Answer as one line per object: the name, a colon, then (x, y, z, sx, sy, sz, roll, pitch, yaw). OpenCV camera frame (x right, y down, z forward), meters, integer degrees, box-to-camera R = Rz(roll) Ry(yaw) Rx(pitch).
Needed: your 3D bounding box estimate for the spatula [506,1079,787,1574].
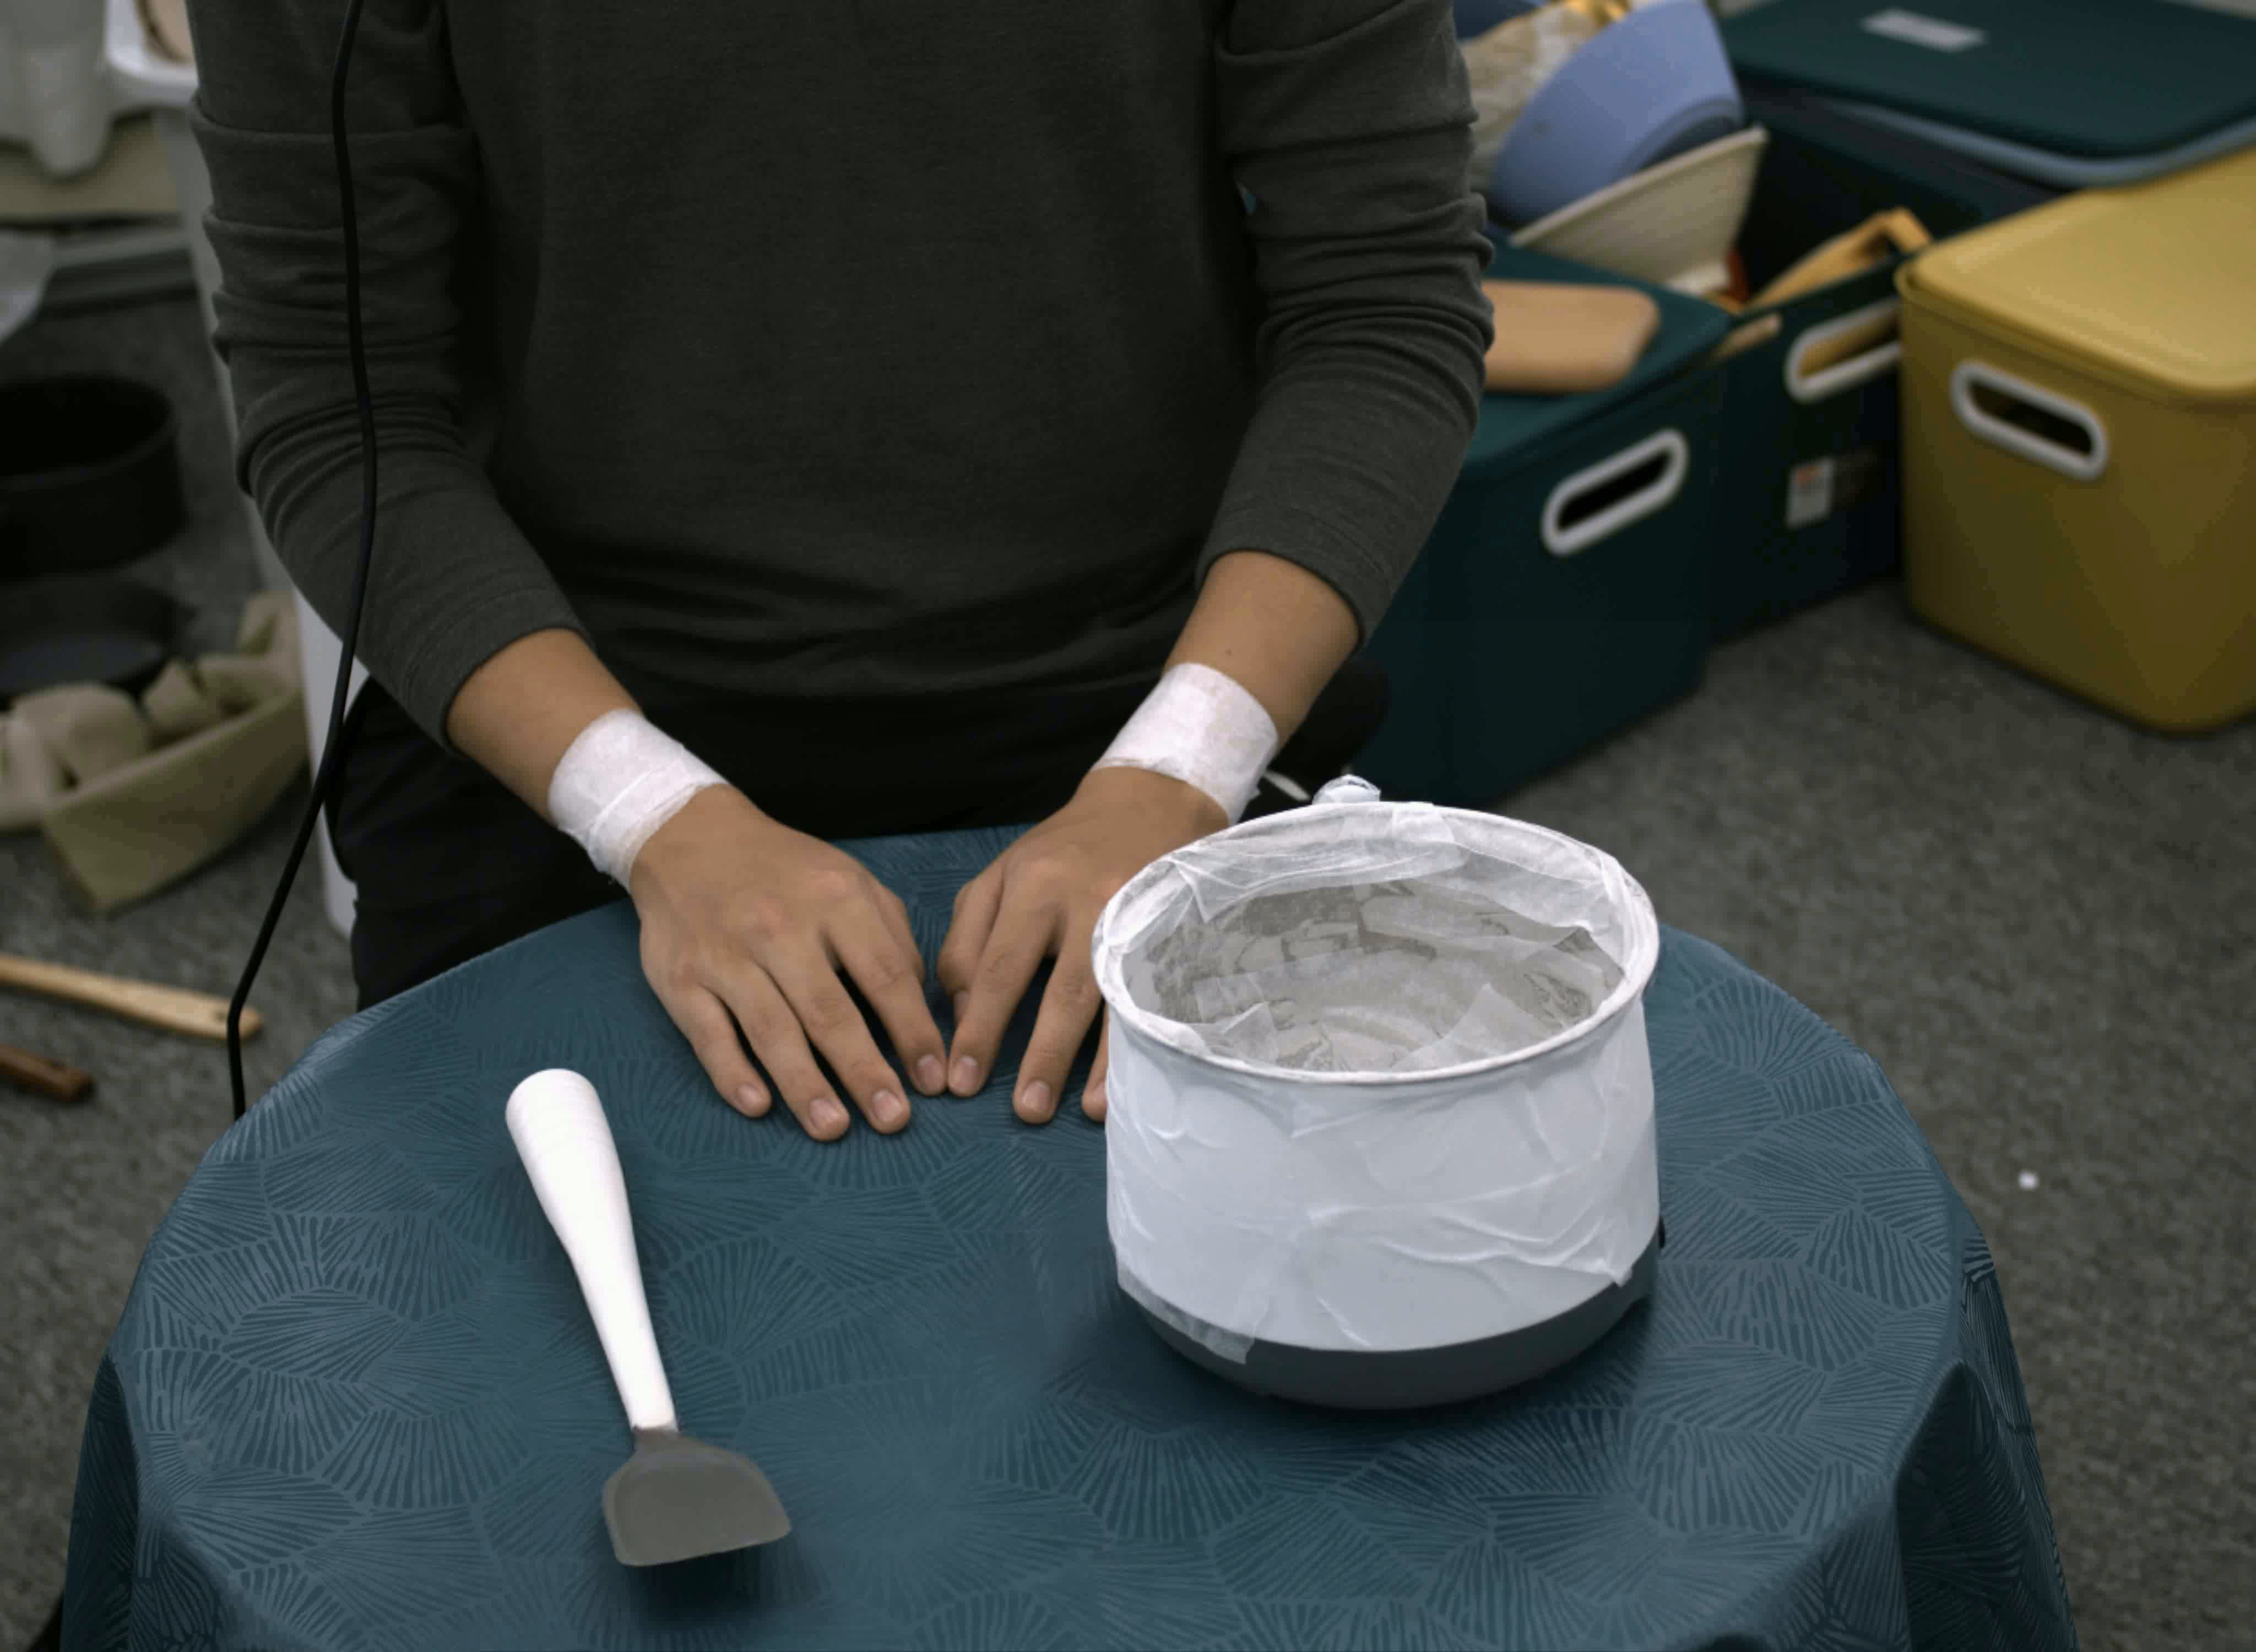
spatula: (-0.159, 0.160, 1.766, 0.058, 0.032, 0.290, -5, 26, -13)

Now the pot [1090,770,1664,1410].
pot: (0.078, 0.076, 1.794, 0.178, 0.135, 0.237, -4, 27, -2)
